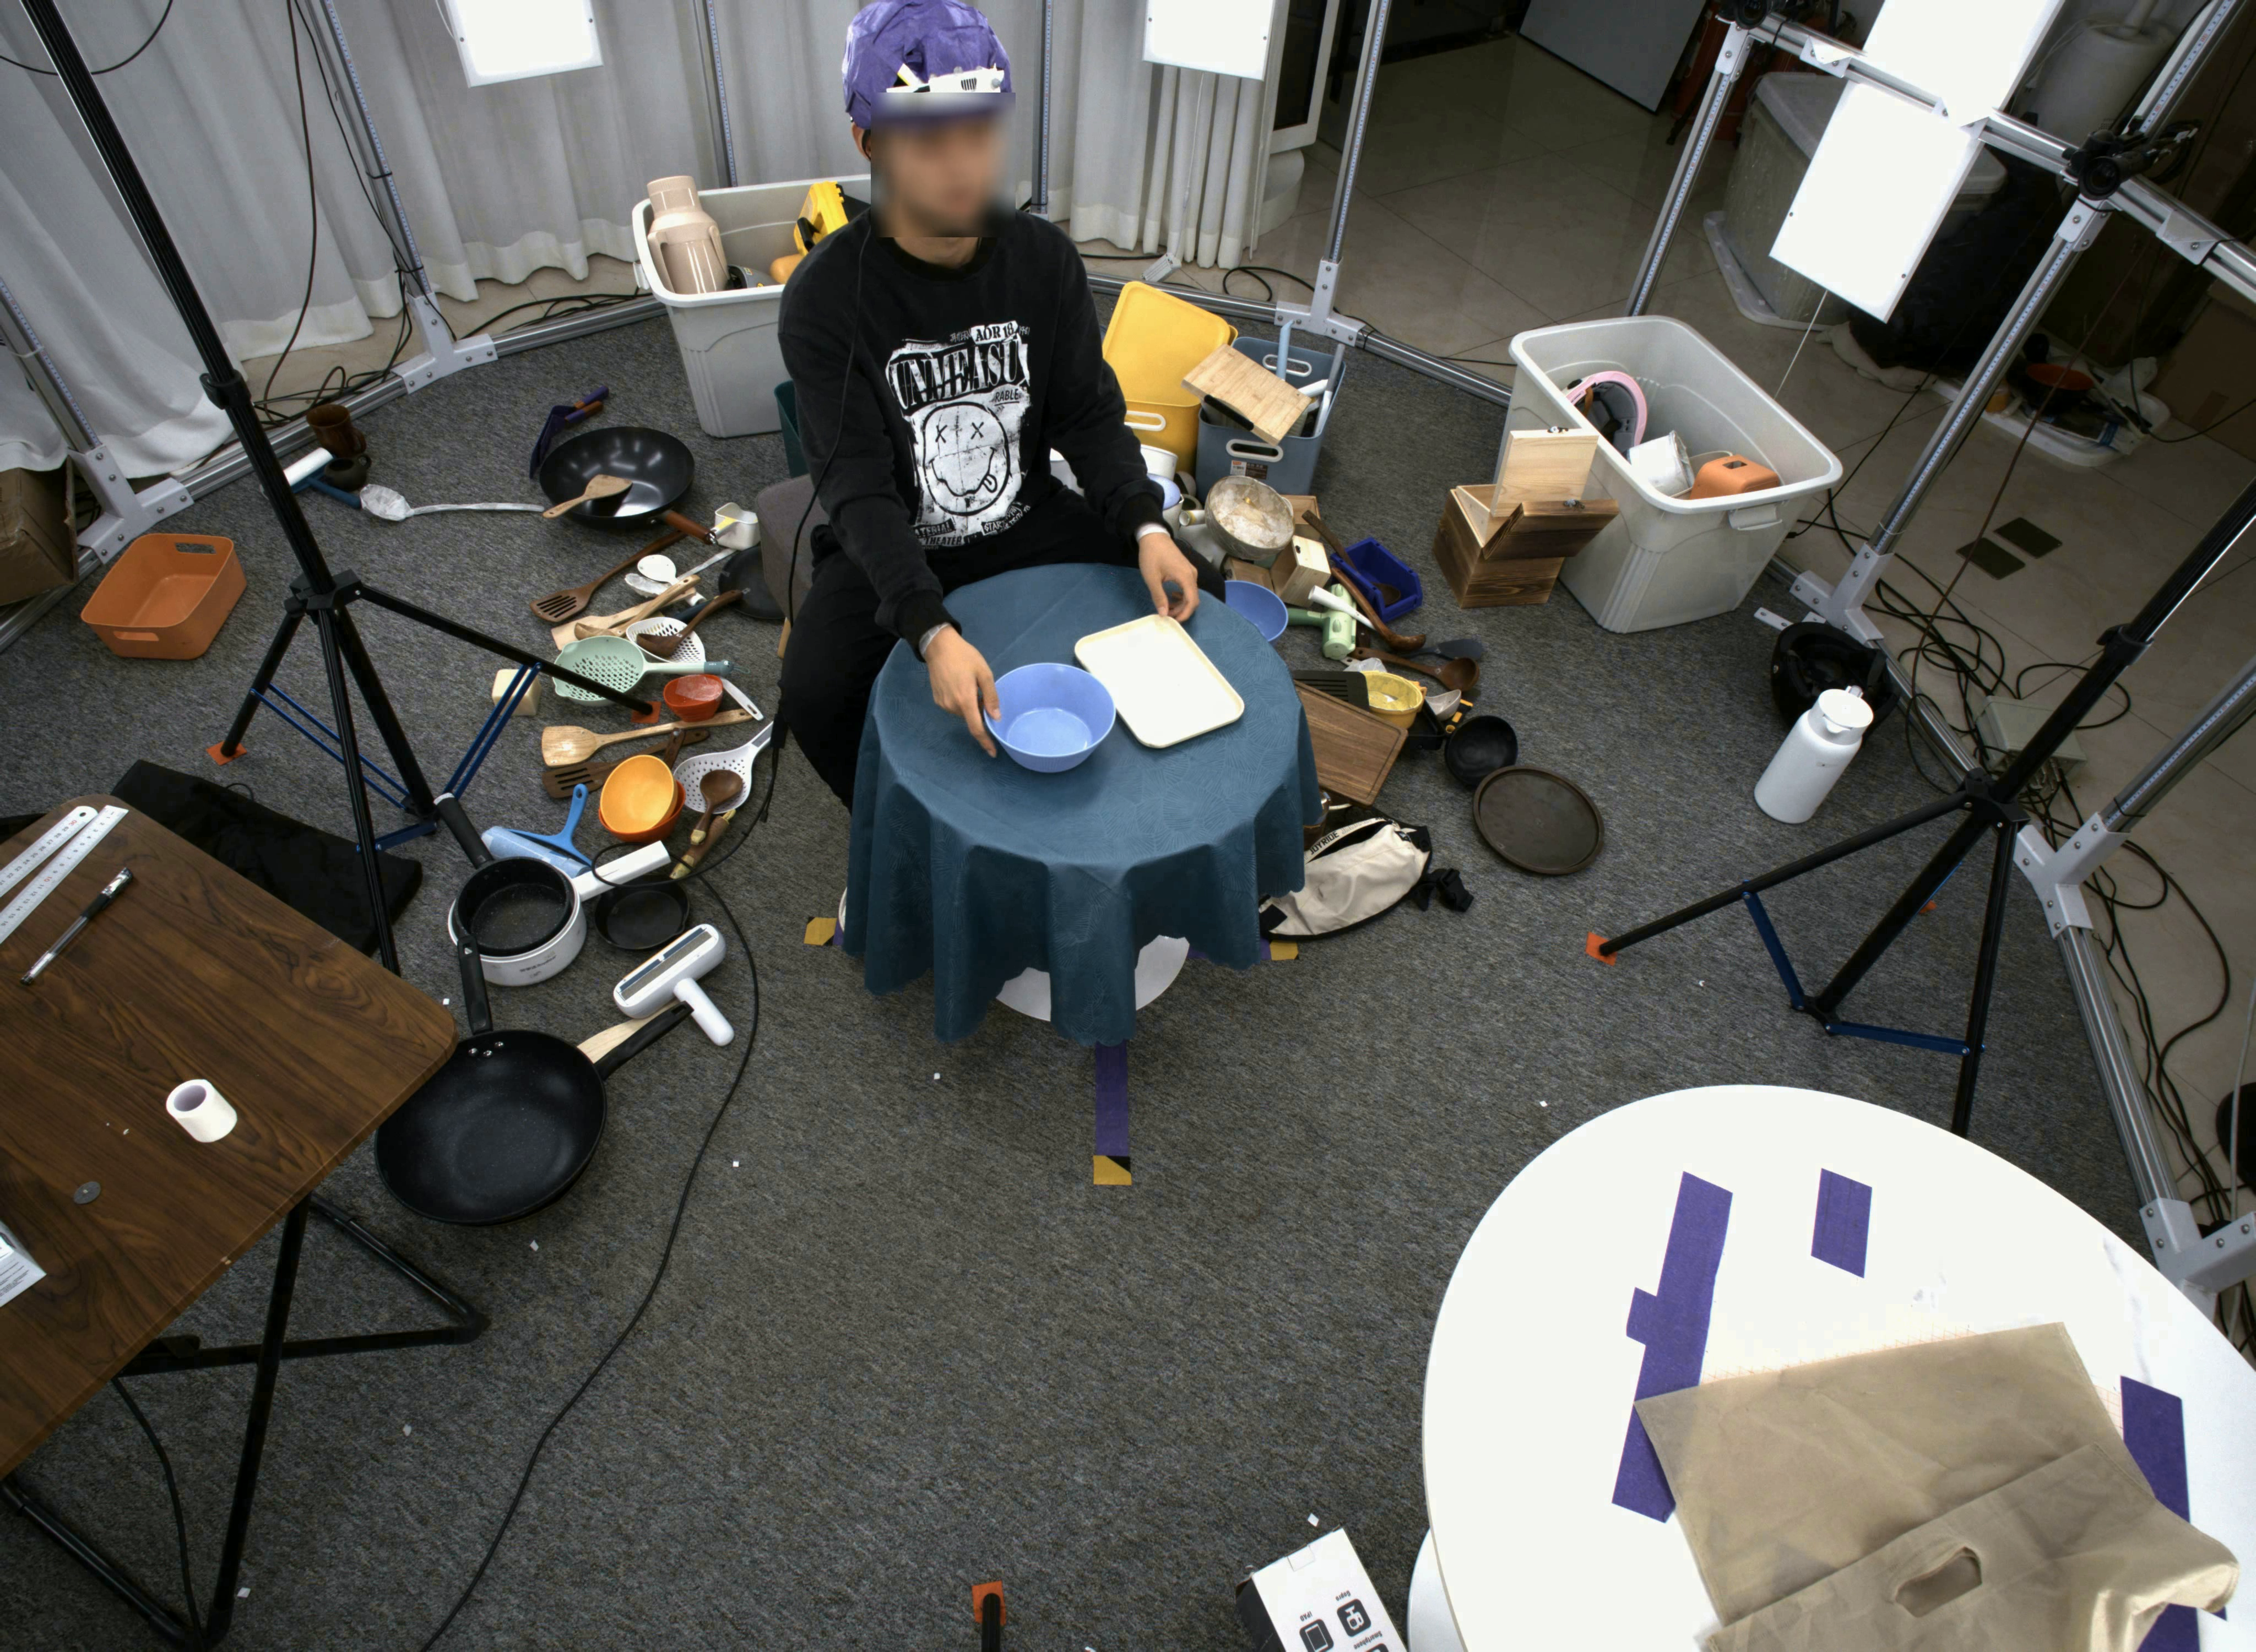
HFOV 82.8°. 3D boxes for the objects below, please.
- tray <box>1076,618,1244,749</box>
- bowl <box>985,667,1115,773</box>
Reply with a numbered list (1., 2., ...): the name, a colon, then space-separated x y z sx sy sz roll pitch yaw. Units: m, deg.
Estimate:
1. tray: 0.044 -0.208 1.858 0.171 0.017 0.245 -20 53 -21
2. bowl: -0.107 -0.135 1.749 0.176 0.068 0.180 2 48 -3
